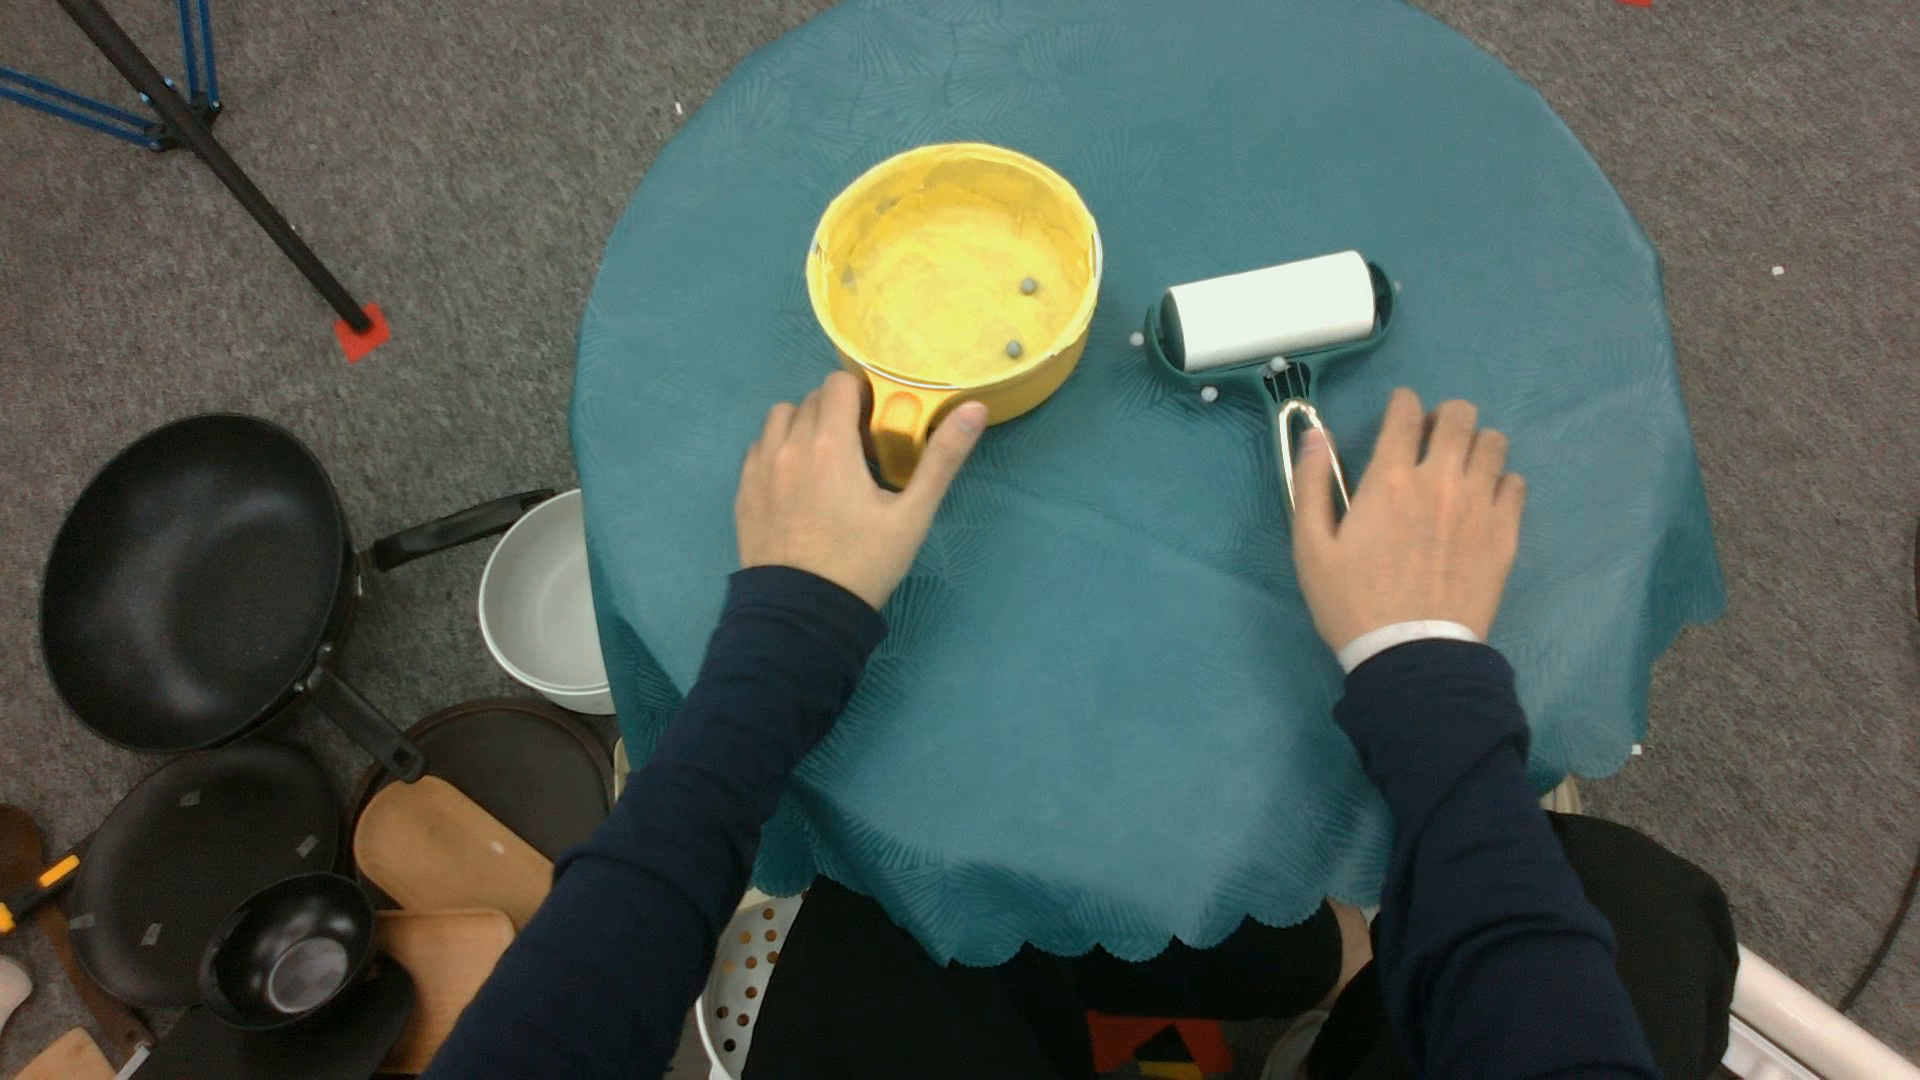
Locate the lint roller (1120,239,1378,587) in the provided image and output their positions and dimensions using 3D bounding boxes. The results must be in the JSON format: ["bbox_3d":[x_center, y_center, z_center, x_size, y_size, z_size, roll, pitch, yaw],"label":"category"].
[{"bbox_3d":[0.165,-0.066,0.712,0.134,0.048,0.180,-10,71,-2],"label":"lint roller"}]

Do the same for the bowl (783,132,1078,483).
[{"bbox_3d":[-0.017,-0.125,0.732,0.153,0.074,0.180,8,67,6],"label":"bowl"}]
